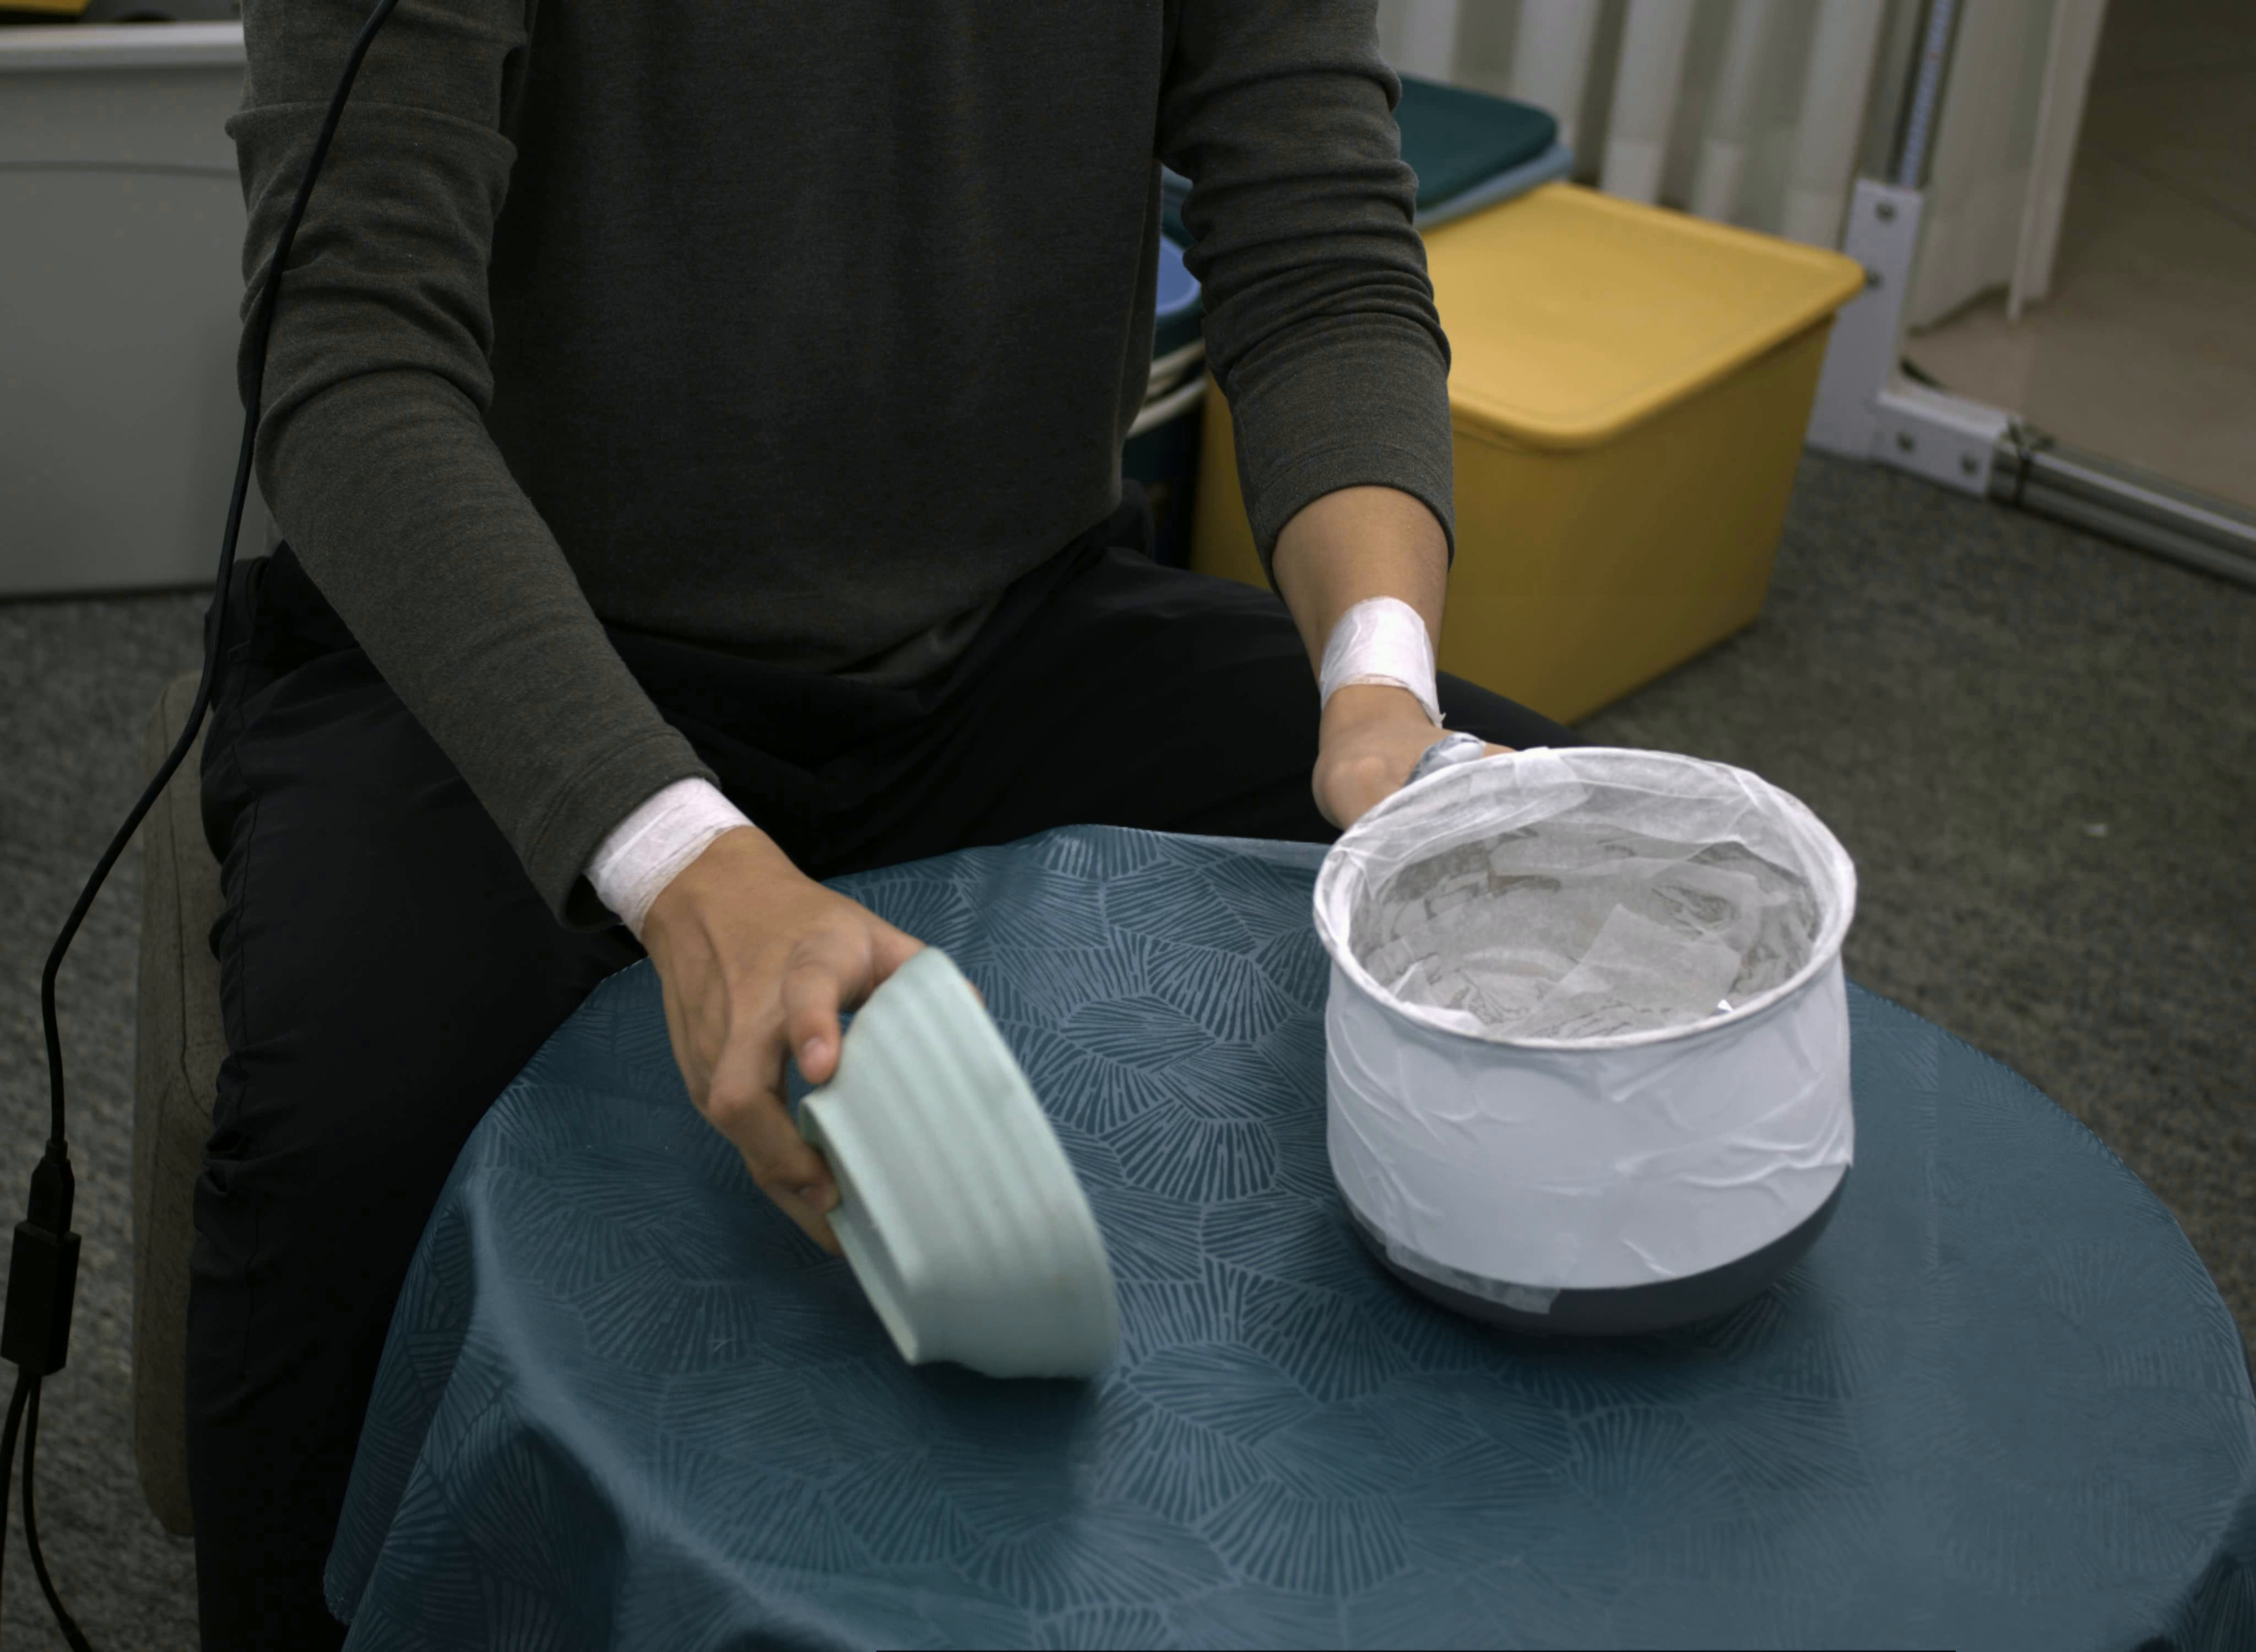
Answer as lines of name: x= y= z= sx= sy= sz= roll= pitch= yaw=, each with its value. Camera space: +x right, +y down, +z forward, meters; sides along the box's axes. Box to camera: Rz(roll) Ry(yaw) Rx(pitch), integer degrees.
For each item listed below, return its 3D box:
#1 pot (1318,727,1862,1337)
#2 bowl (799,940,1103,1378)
pot: x=0.142 y=0.060 z=1.786 sx=0.178 sy=0.136 sz=0.236 roll=-15 pitch=34 yaw=-17
bowl: x=-0.060 y=0.114 z=1.672 sx=0.058 sy=0.150 sz=0.153 roll=-22 pitch=32 yaw=-6
